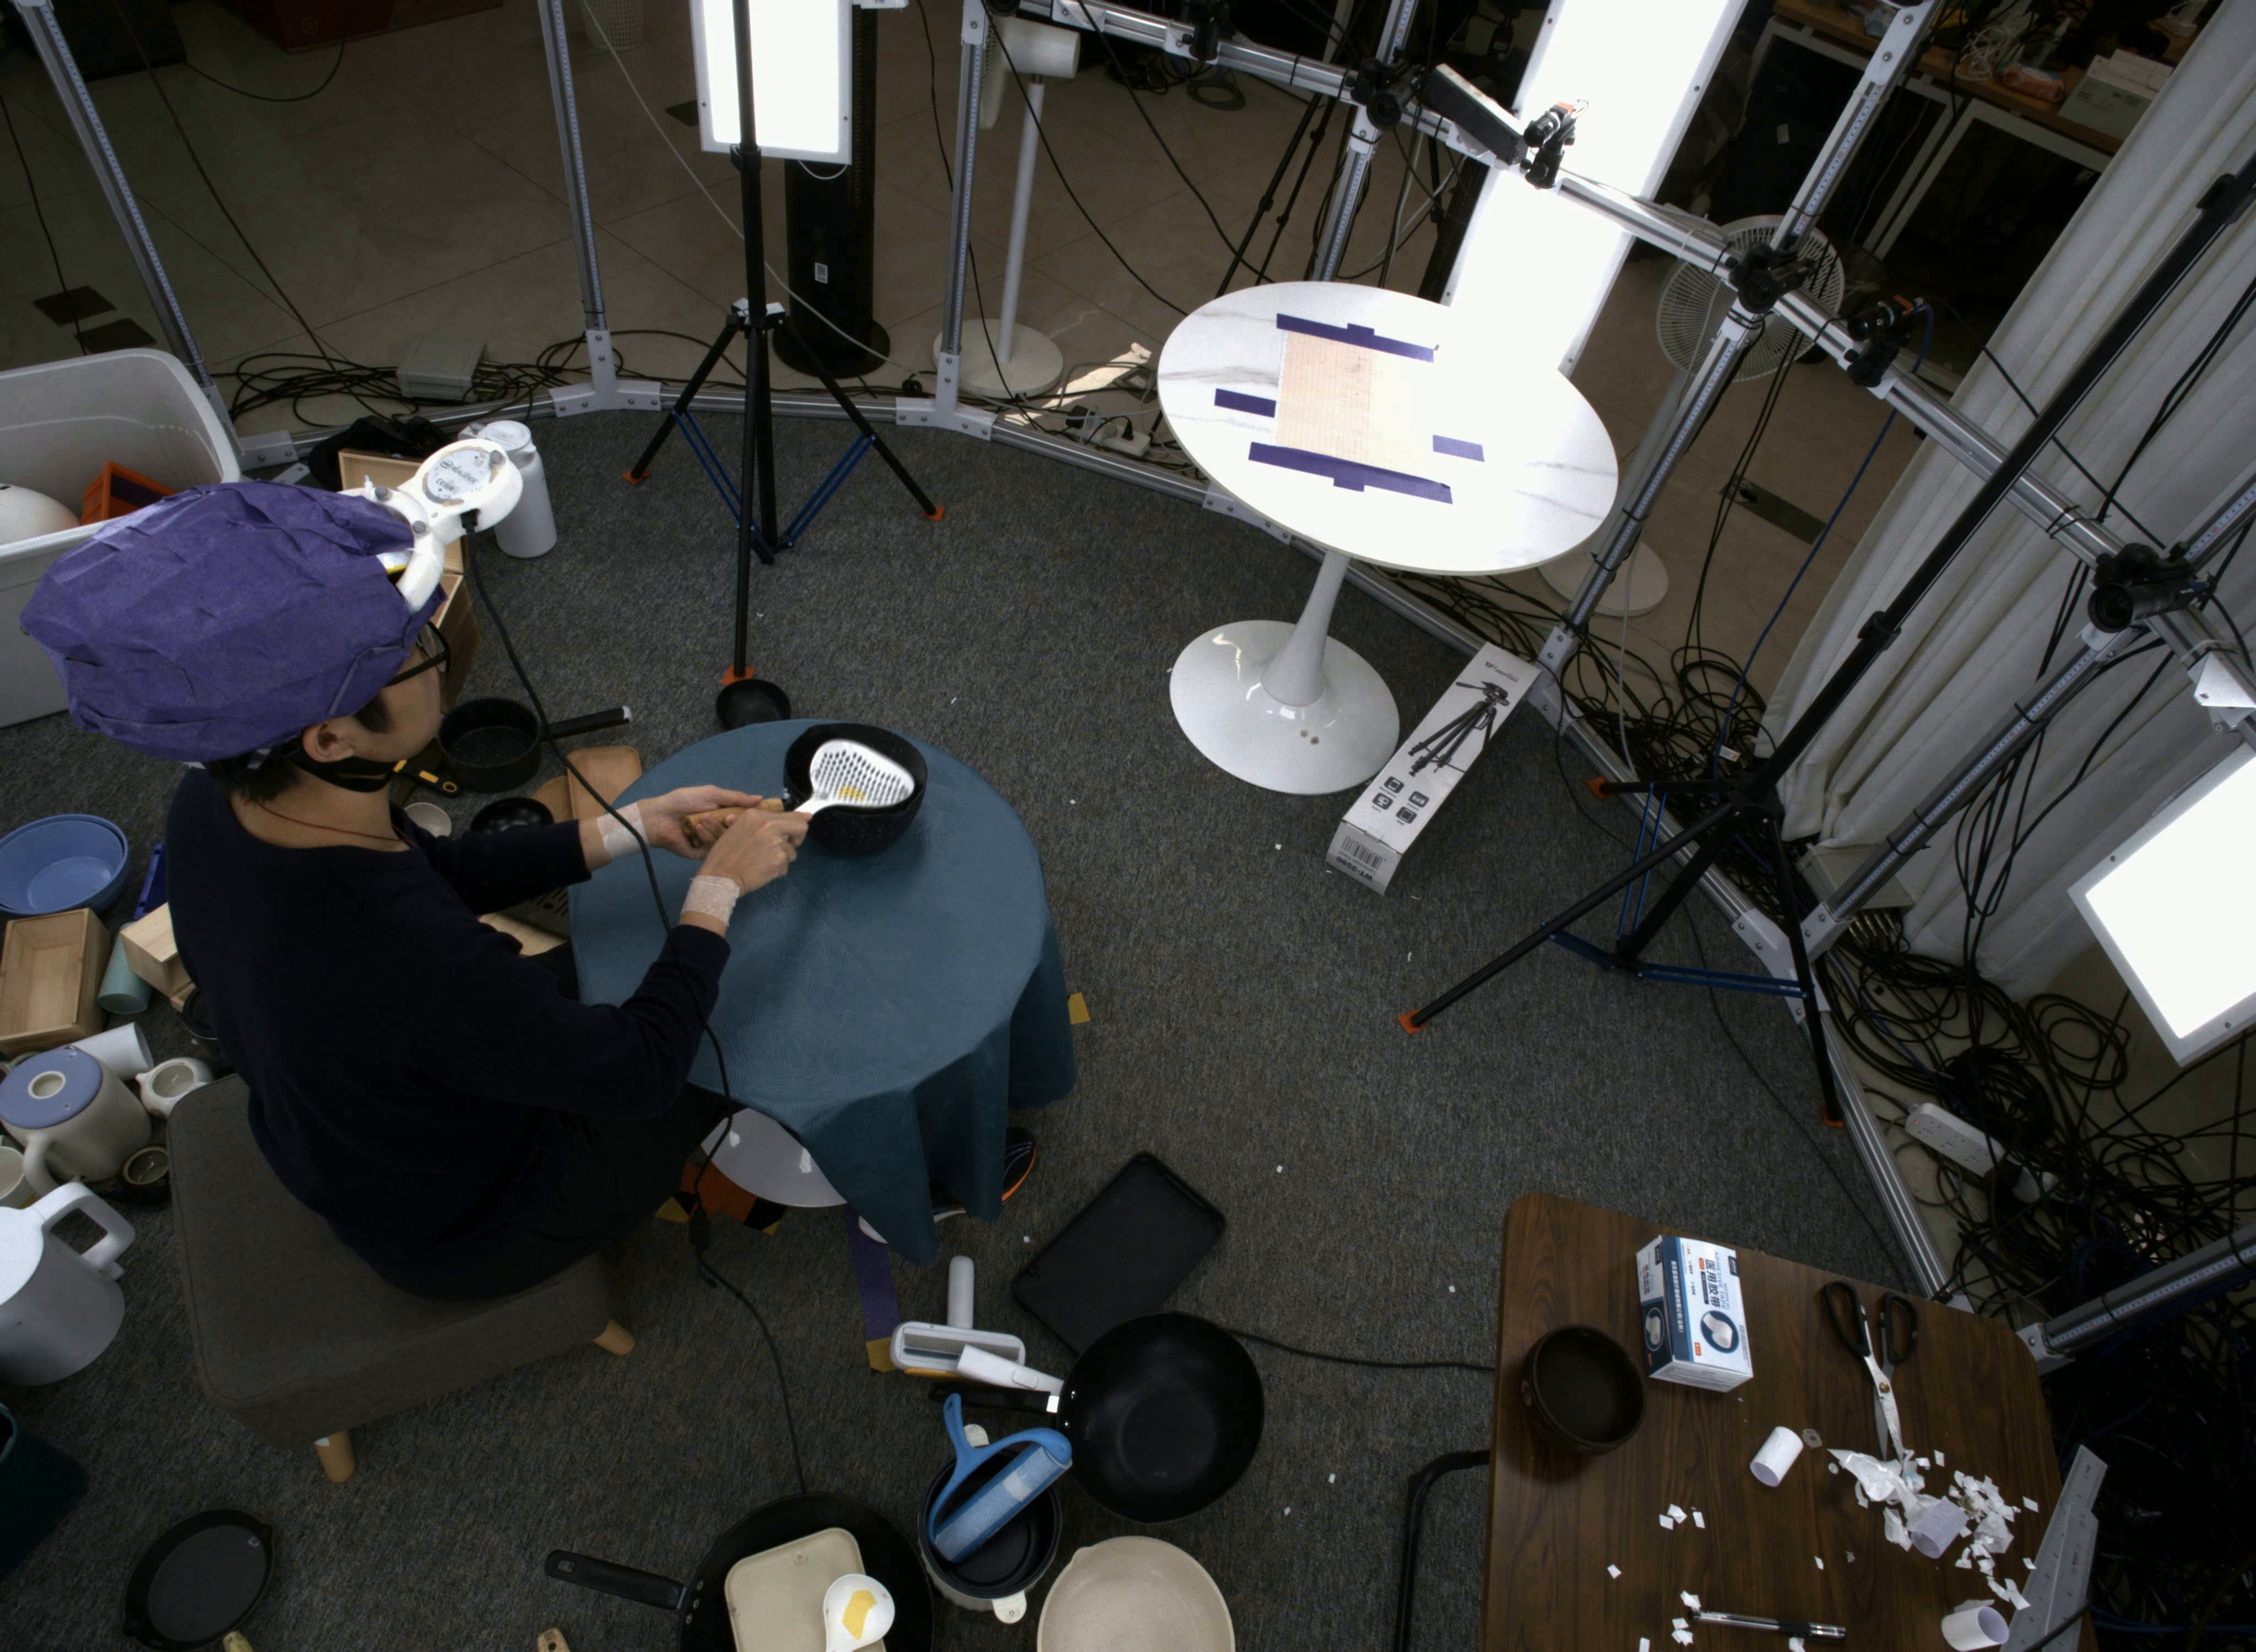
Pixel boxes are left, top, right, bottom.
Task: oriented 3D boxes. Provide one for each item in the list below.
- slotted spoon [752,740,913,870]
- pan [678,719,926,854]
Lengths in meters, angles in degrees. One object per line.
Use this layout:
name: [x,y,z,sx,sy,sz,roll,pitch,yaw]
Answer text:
slotted spoon: [-0.381,-0.025,1.611,0.136,0.051,0.346,32,20,1]
pan: [-0.412,-0.027,1.638,0.202,0.110,0.345,42,44,21]
